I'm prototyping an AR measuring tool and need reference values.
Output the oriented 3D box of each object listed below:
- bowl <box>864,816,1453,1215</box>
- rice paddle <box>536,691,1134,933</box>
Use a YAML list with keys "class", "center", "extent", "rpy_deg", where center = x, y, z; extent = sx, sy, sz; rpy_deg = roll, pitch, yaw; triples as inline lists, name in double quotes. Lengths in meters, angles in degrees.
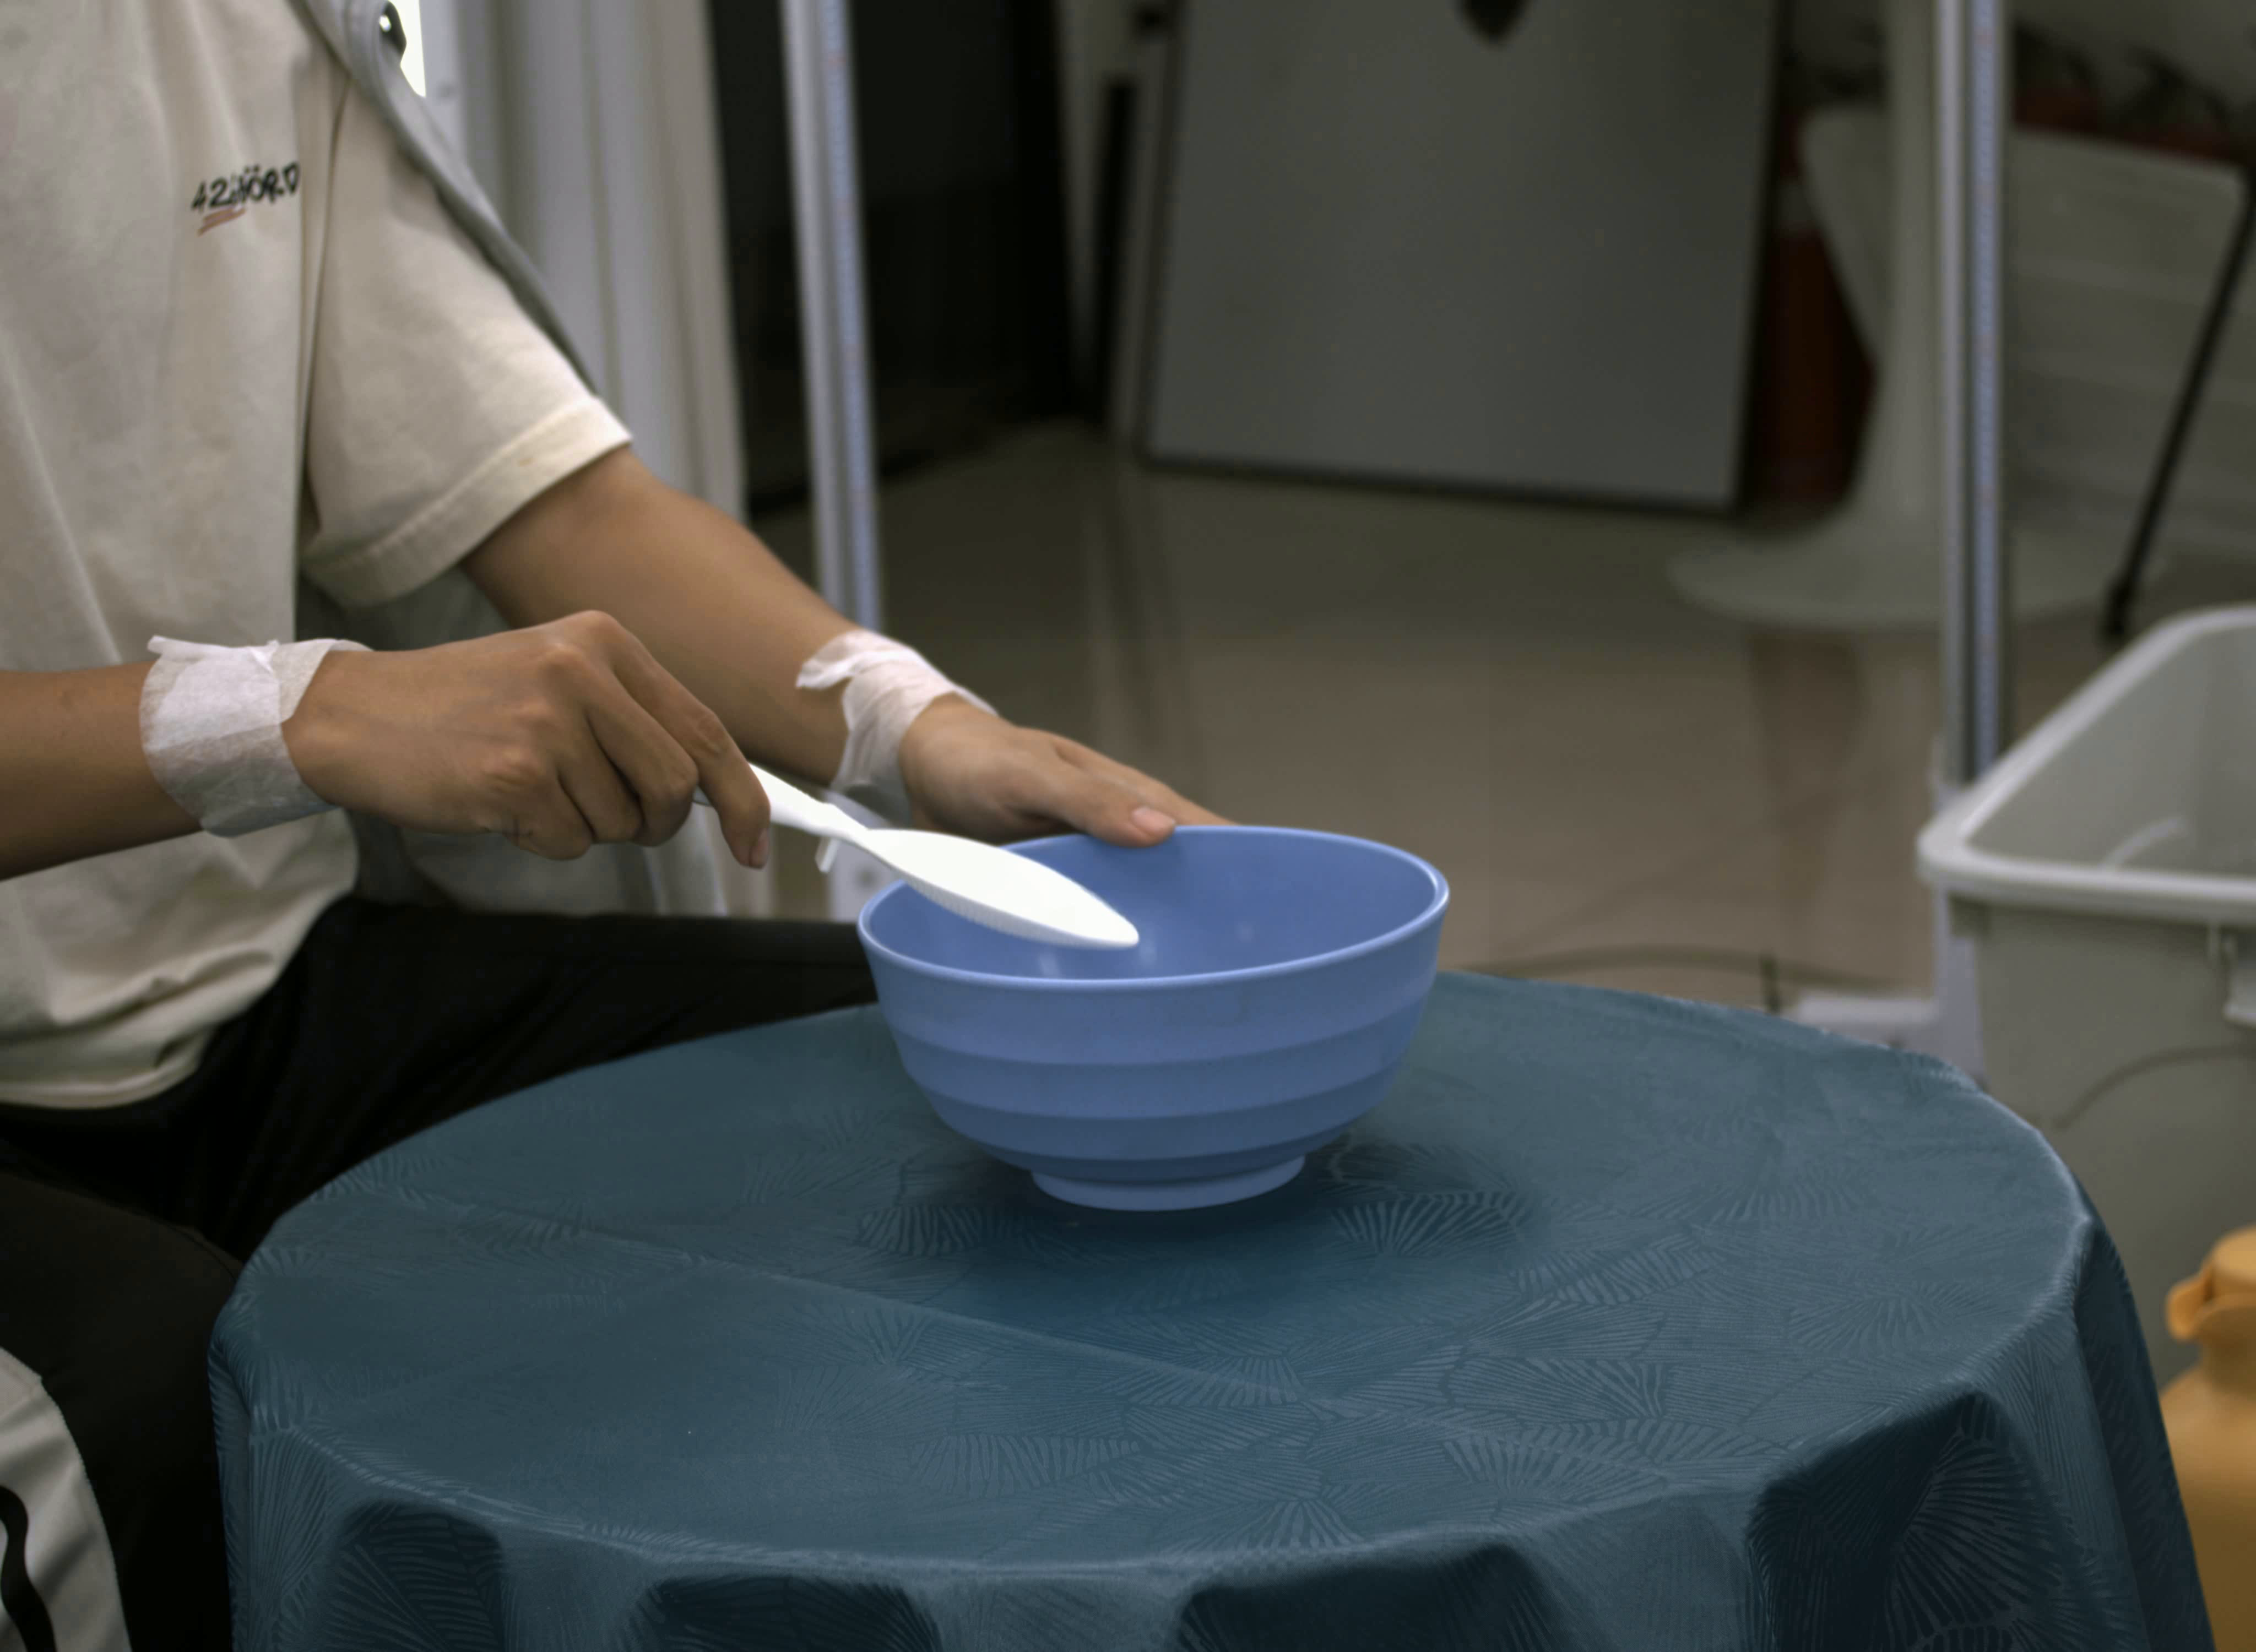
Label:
- class: "bowl"
  center: [0.012, 0.068, 1.783]
  extent: [0.194, 0.096, 0.197]
  rpy_deg: [-4, 16, 0]
- class: "rice paddle"
  center: [-0.089, -0.001, 1.735]
  extent: [0.201, 0.030, 0.069]
  rpy_deg: [17, 15, -17]
